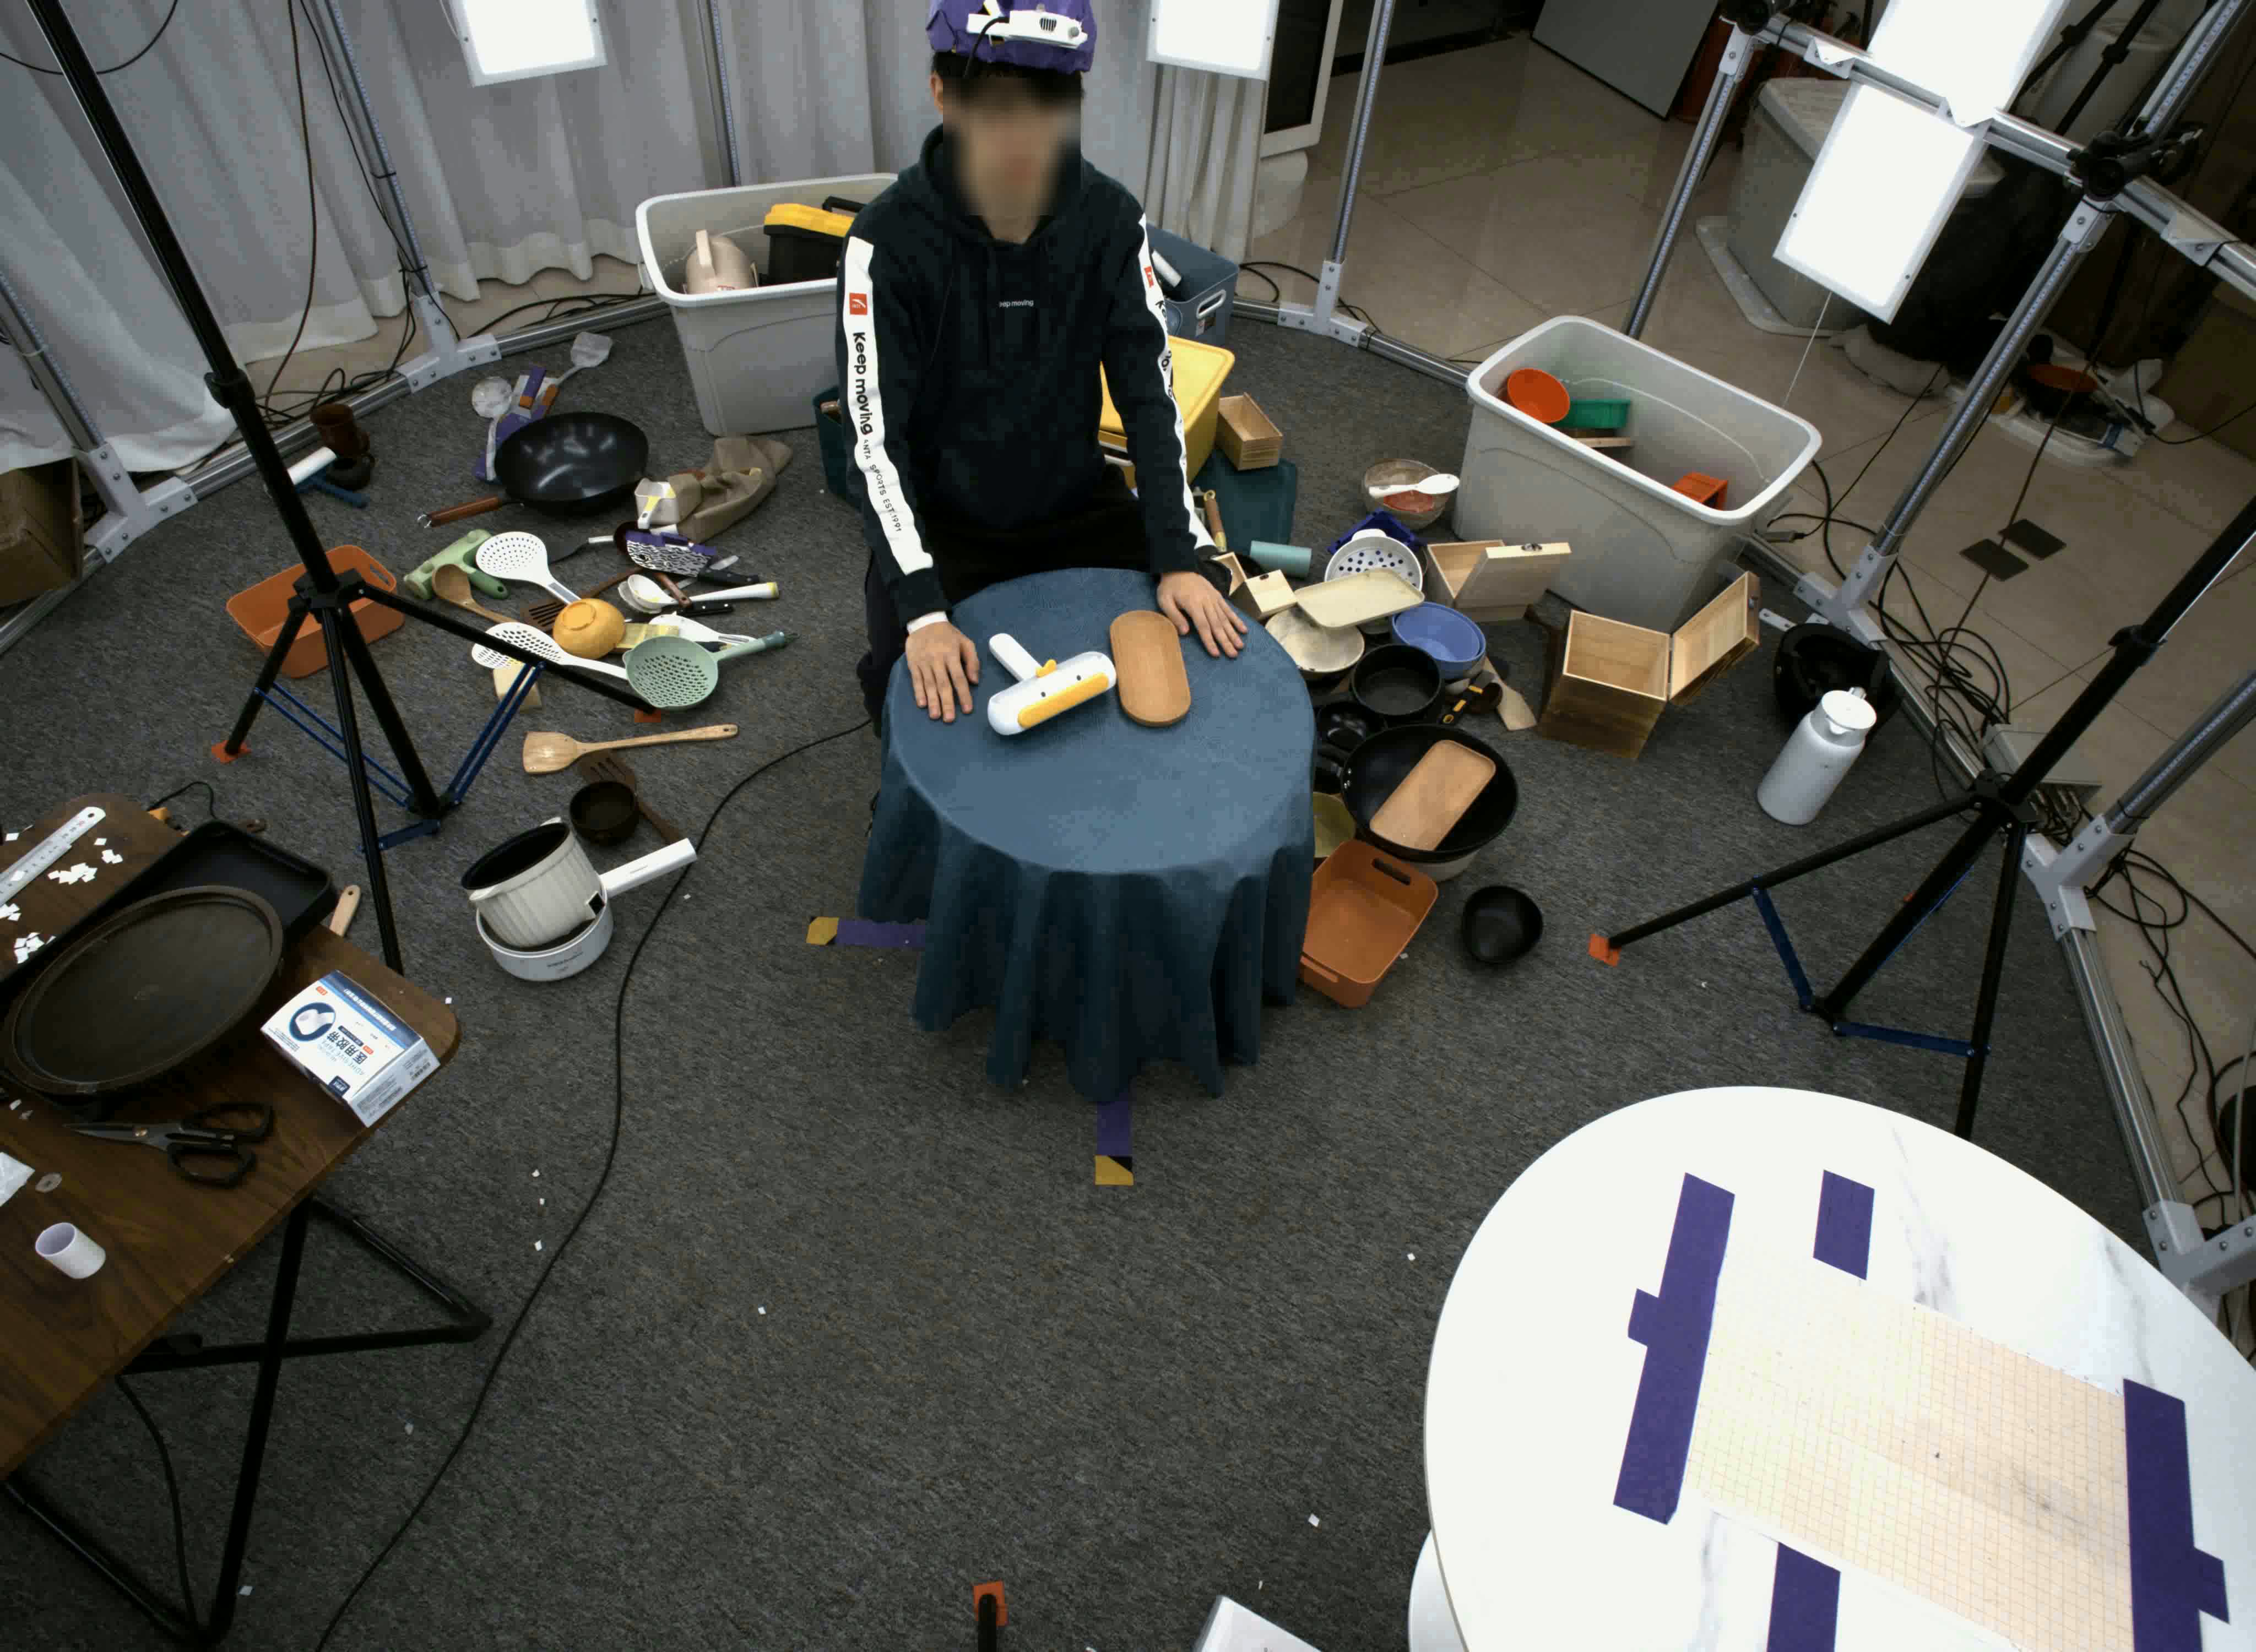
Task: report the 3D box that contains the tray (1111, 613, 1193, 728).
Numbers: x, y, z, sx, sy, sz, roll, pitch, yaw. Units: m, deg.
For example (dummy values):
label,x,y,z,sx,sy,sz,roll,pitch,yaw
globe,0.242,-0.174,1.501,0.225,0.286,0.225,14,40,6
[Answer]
label,x,y,z,sx,sy,sz,roll,pitch,yaw
tray,0.033,-0.228,1.857,0.101,0.020,0.237,-4,50,-7

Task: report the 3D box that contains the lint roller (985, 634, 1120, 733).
label,x,y,z,sx,sy,sz,roll,pitch,yaw
lint roller,-0.134,-0.217,1.816,0.194,0.072,0.196,-34,40,-21
